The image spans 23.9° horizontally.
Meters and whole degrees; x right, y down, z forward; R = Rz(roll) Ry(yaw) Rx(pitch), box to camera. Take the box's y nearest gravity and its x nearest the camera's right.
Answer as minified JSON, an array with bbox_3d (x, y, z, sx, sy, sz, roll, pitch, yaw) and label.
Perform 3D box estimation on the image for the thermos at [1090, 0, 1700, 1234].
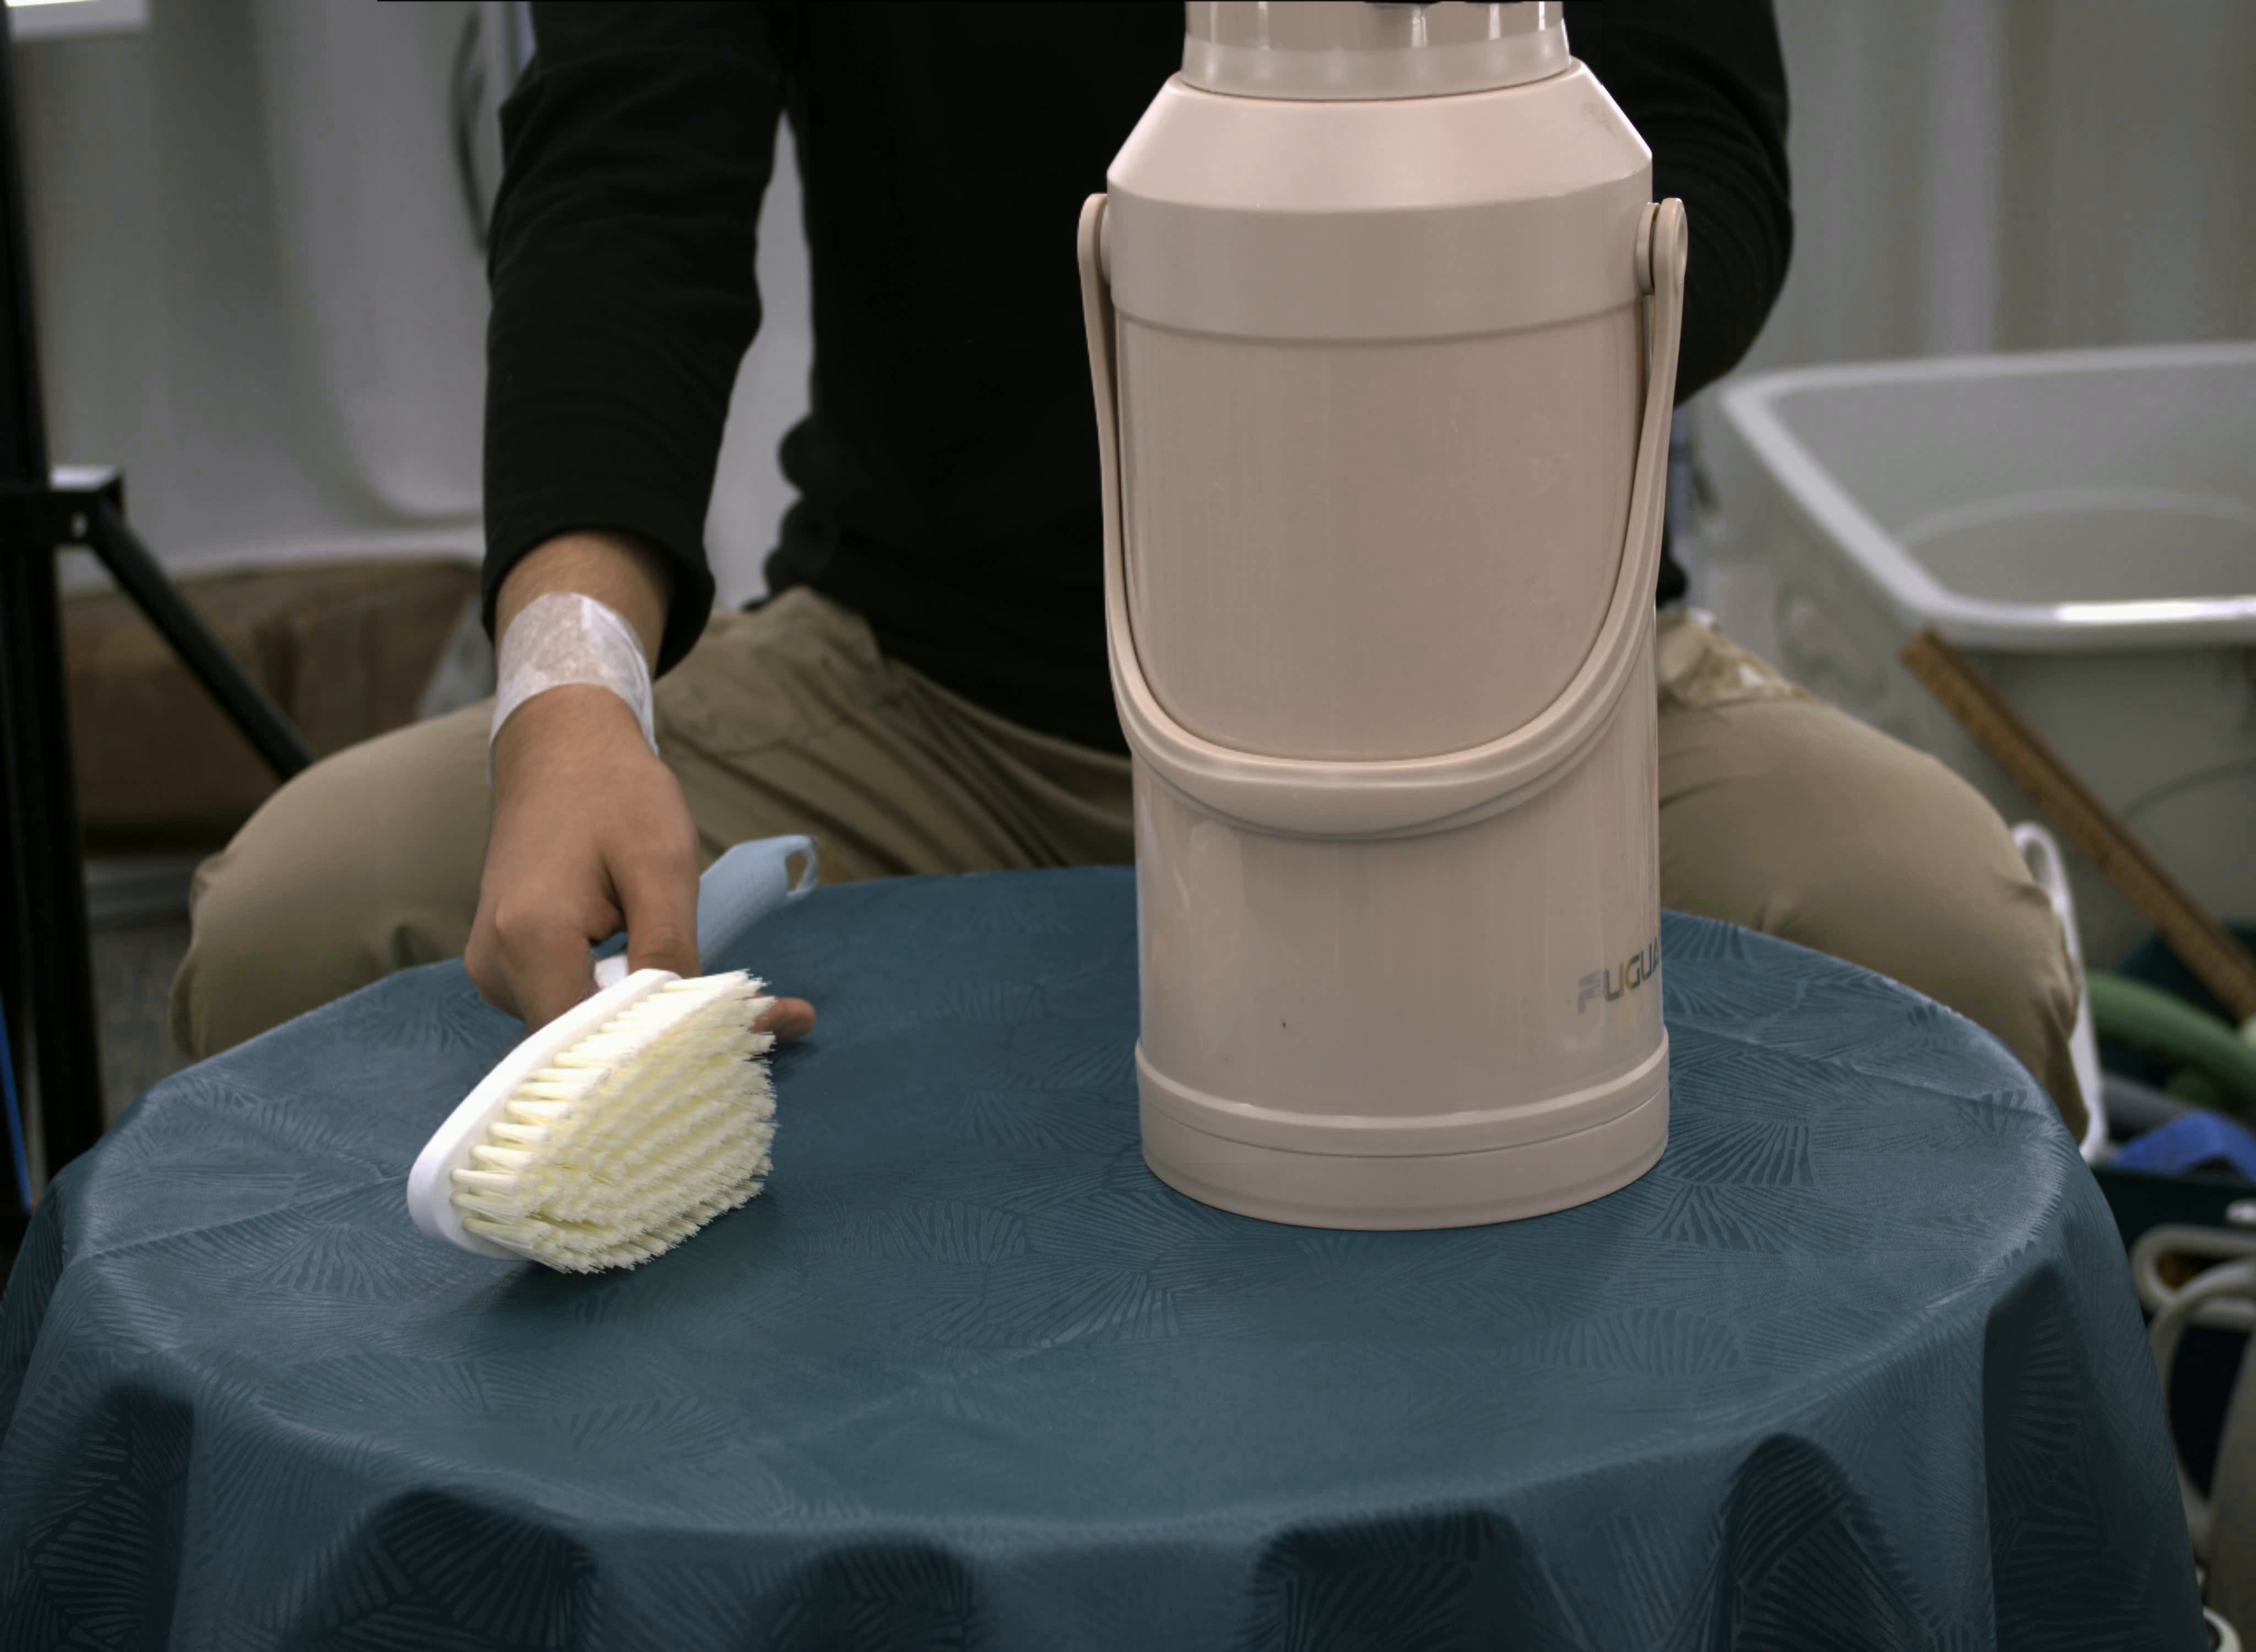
[{"bbox_3d":[0.084,-0.100,1.551,0.177,0.406,0.205,1,15,17],"label":"thermos"}]

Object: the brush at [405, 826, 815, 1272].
[{"bbox_3d":[-0.124,0.055,1.622,0.084,0.083,0.323,39,24,1],"label":"brush"}]
